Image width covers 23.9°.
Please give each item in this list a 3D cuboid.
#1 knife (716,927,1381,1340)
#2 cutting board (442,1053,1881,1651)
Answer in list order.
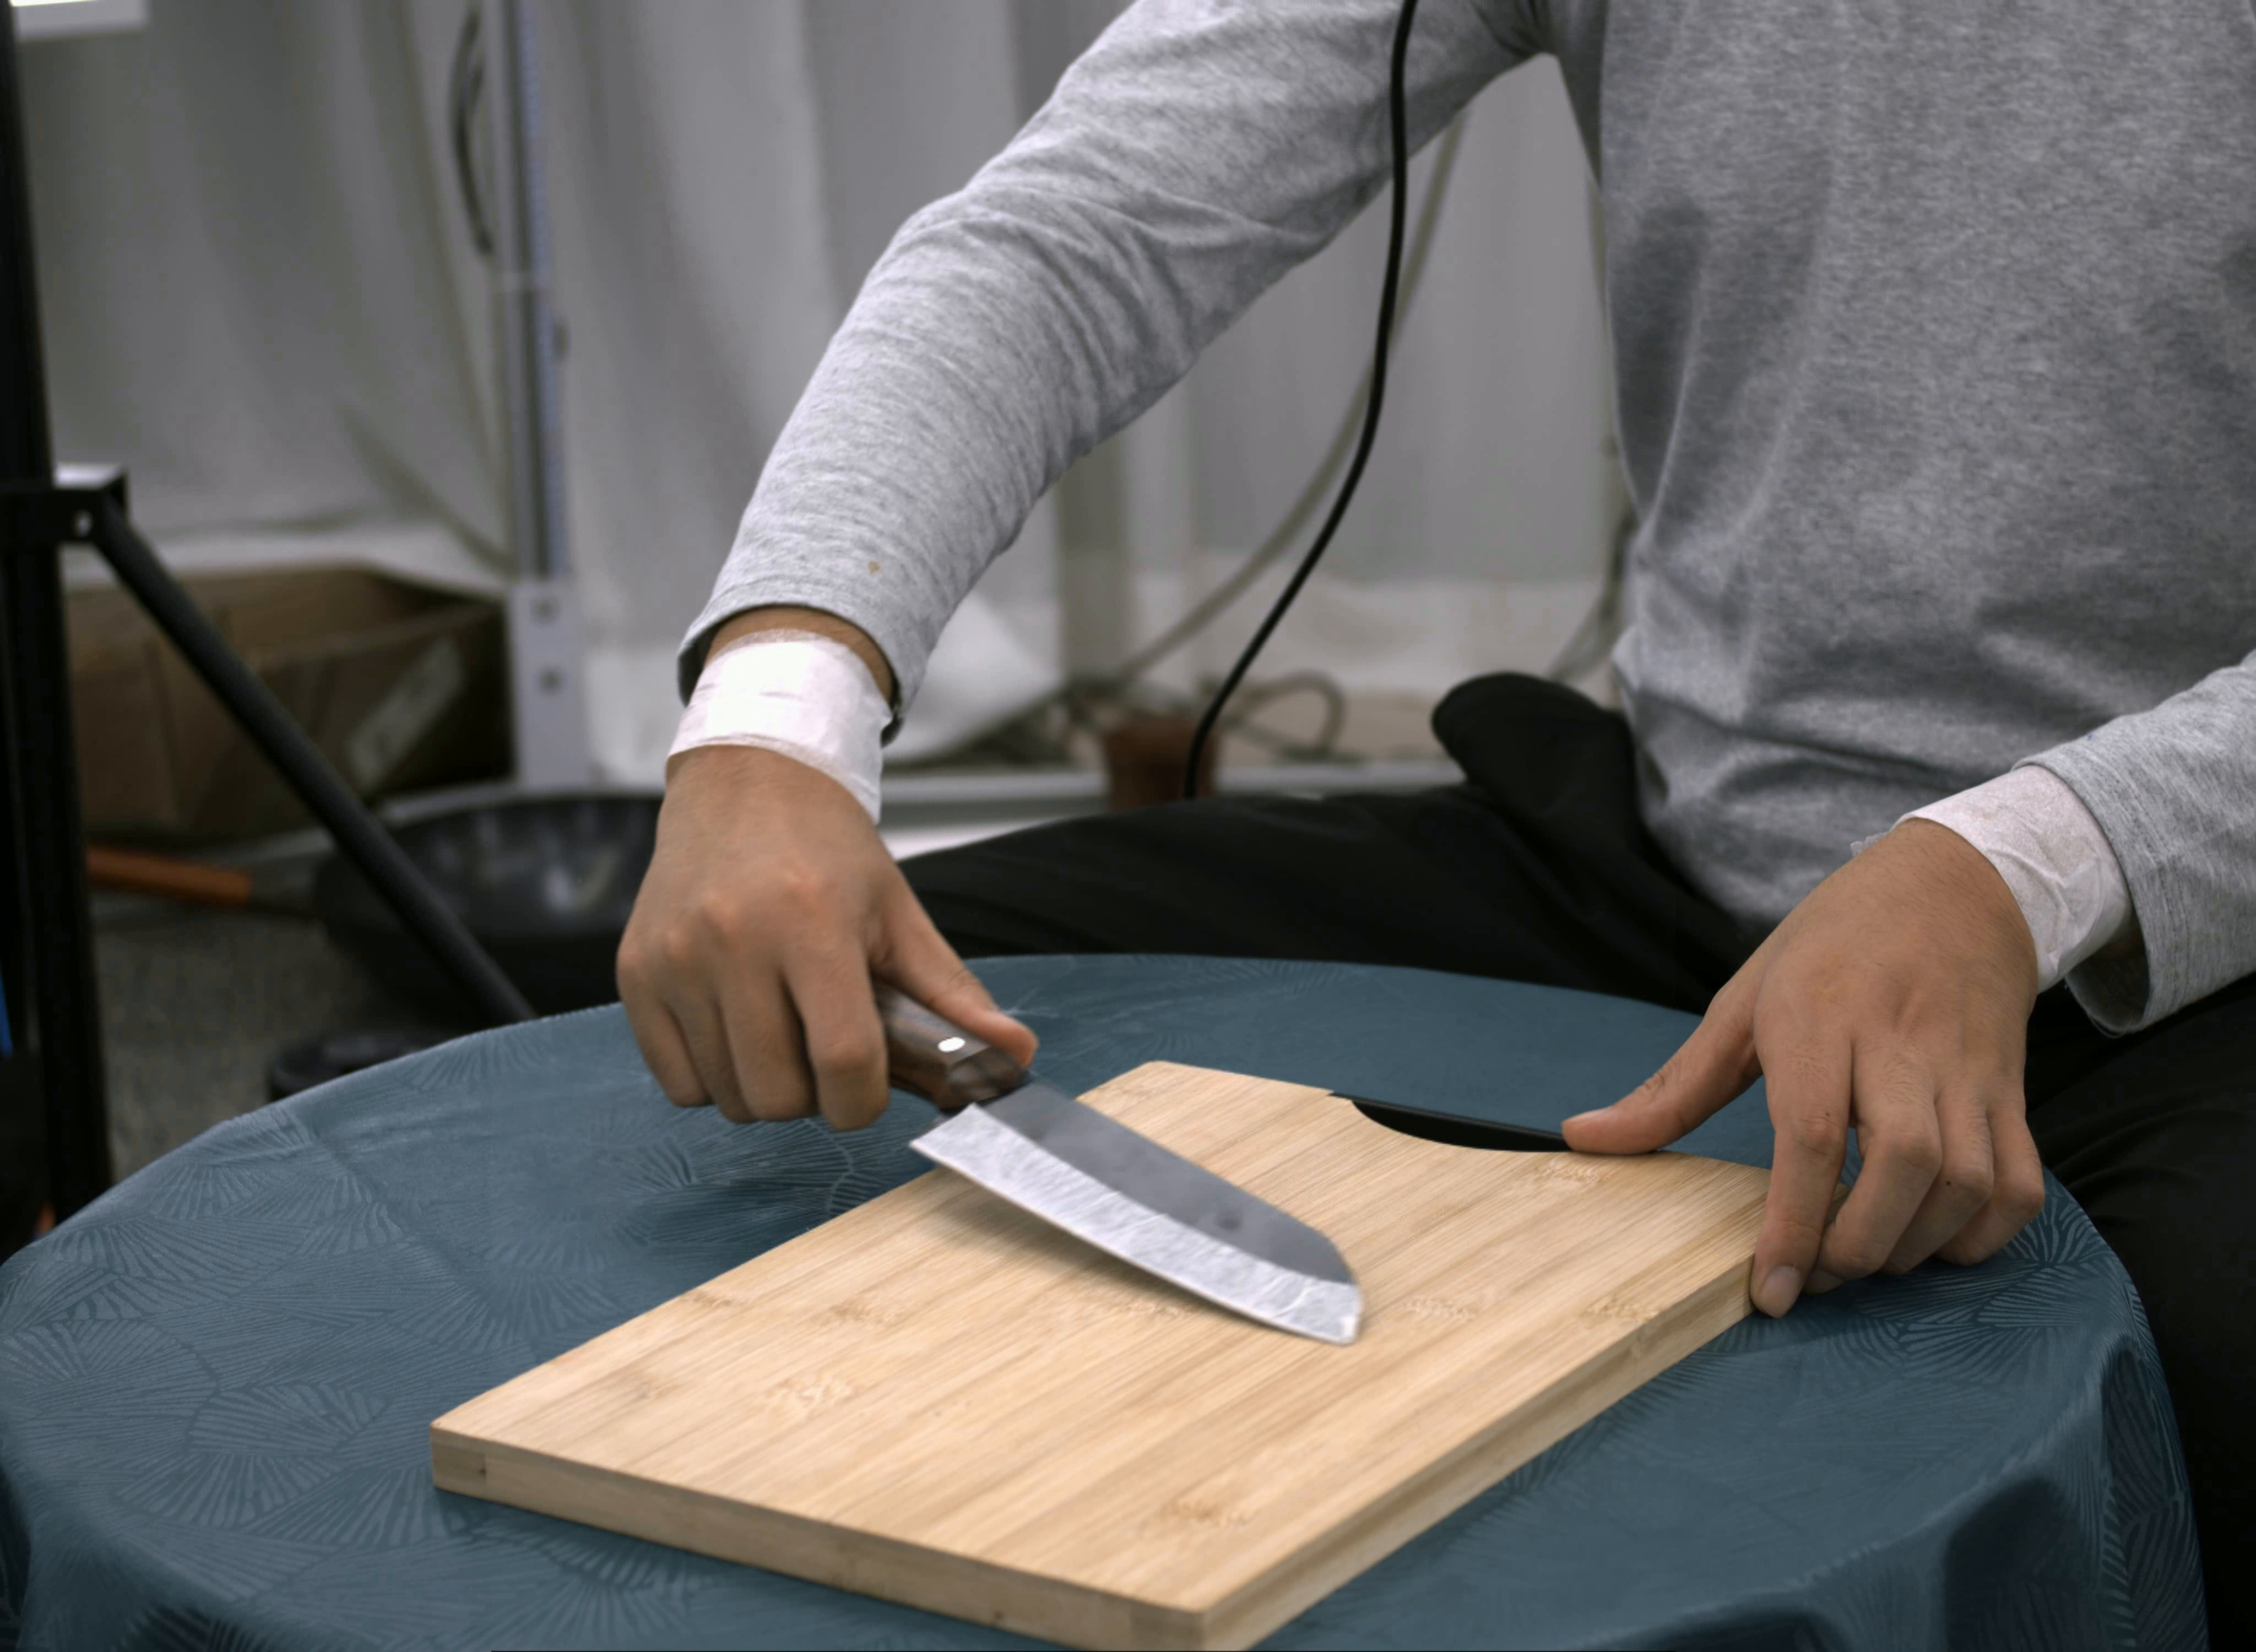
[{"bbox_3d":[-0.026,0.086,1.497,0.049,0.020,0.296,-30,36,-28],"label":"knife"},{"bbox_3d":[0.016,0.136,1.433,0.256,0.023,0.342,9,19,33],"label":"cutting board"}]
